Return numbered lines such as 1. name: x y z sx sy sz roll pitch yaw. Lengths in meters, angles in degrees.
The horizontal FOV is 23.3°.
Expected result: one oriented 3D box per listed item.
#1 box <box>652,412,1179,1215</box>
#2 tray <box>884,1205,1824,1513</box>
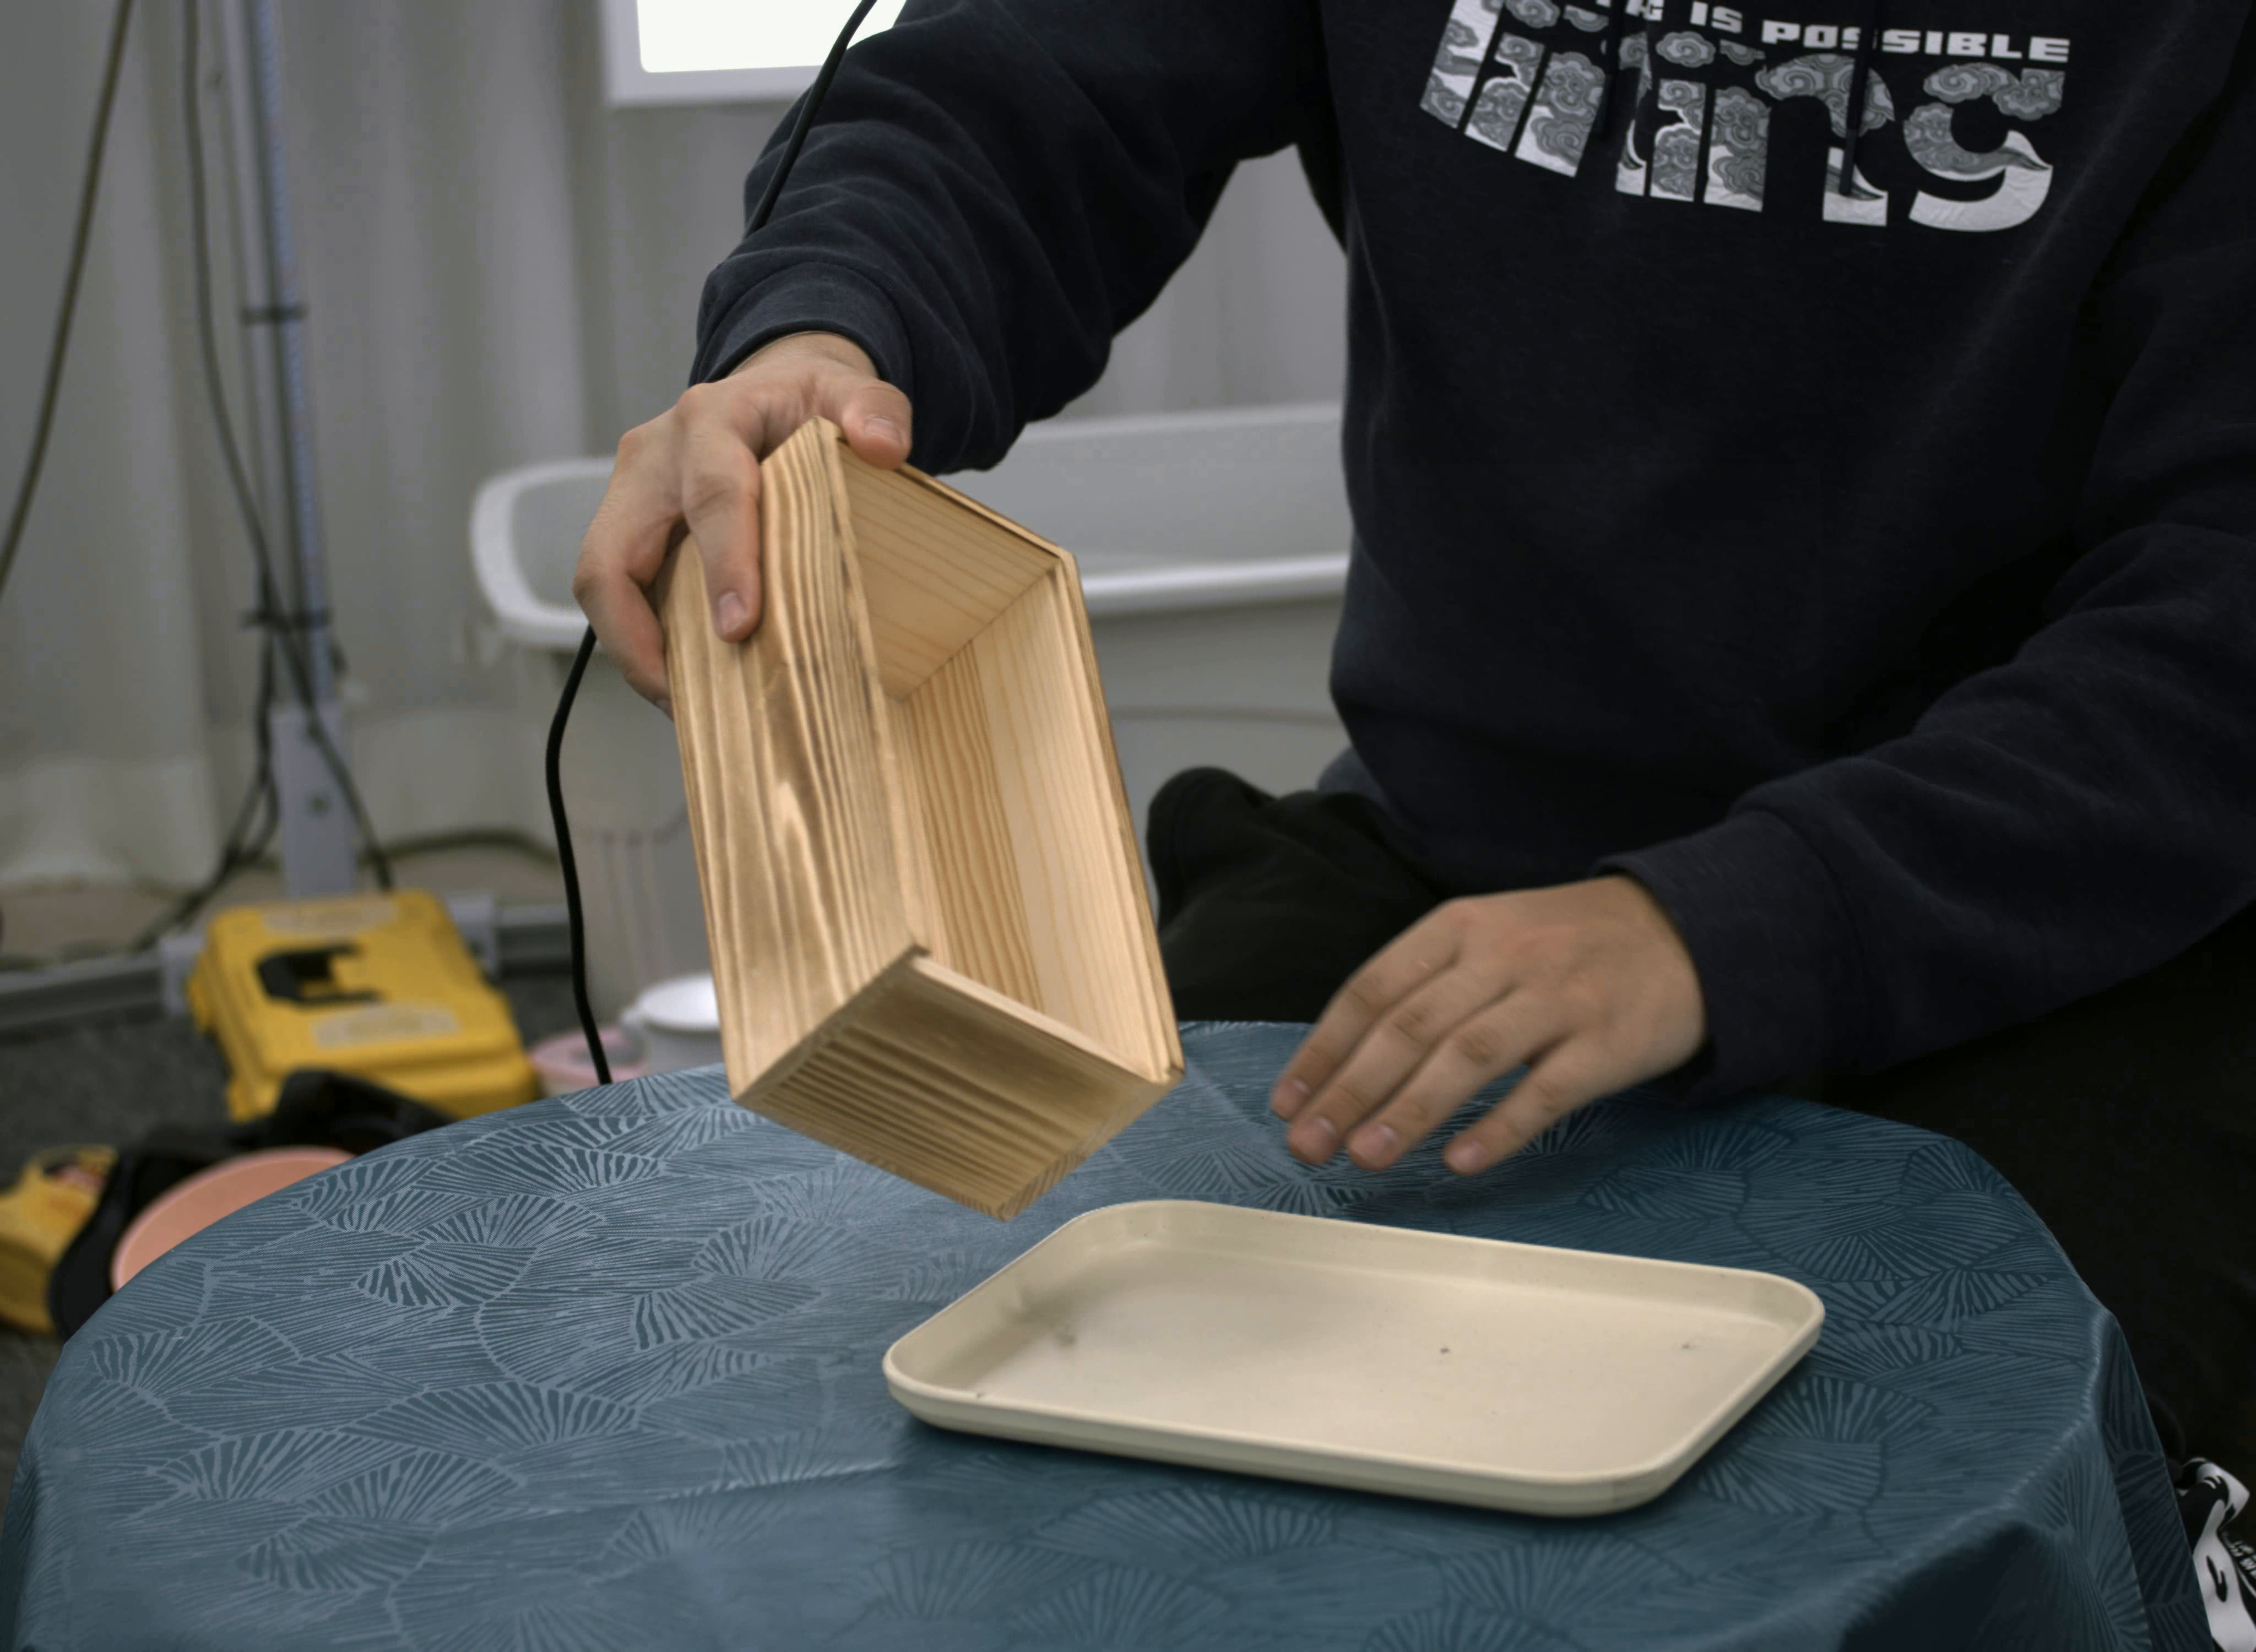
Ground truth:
1. box: -0.065 -0.005 1.604 0.106 0.080 0.215 27 35 -35
2. tray: 0.065 0.149 1.542 0.240 0.017 0.171 5 16 26
